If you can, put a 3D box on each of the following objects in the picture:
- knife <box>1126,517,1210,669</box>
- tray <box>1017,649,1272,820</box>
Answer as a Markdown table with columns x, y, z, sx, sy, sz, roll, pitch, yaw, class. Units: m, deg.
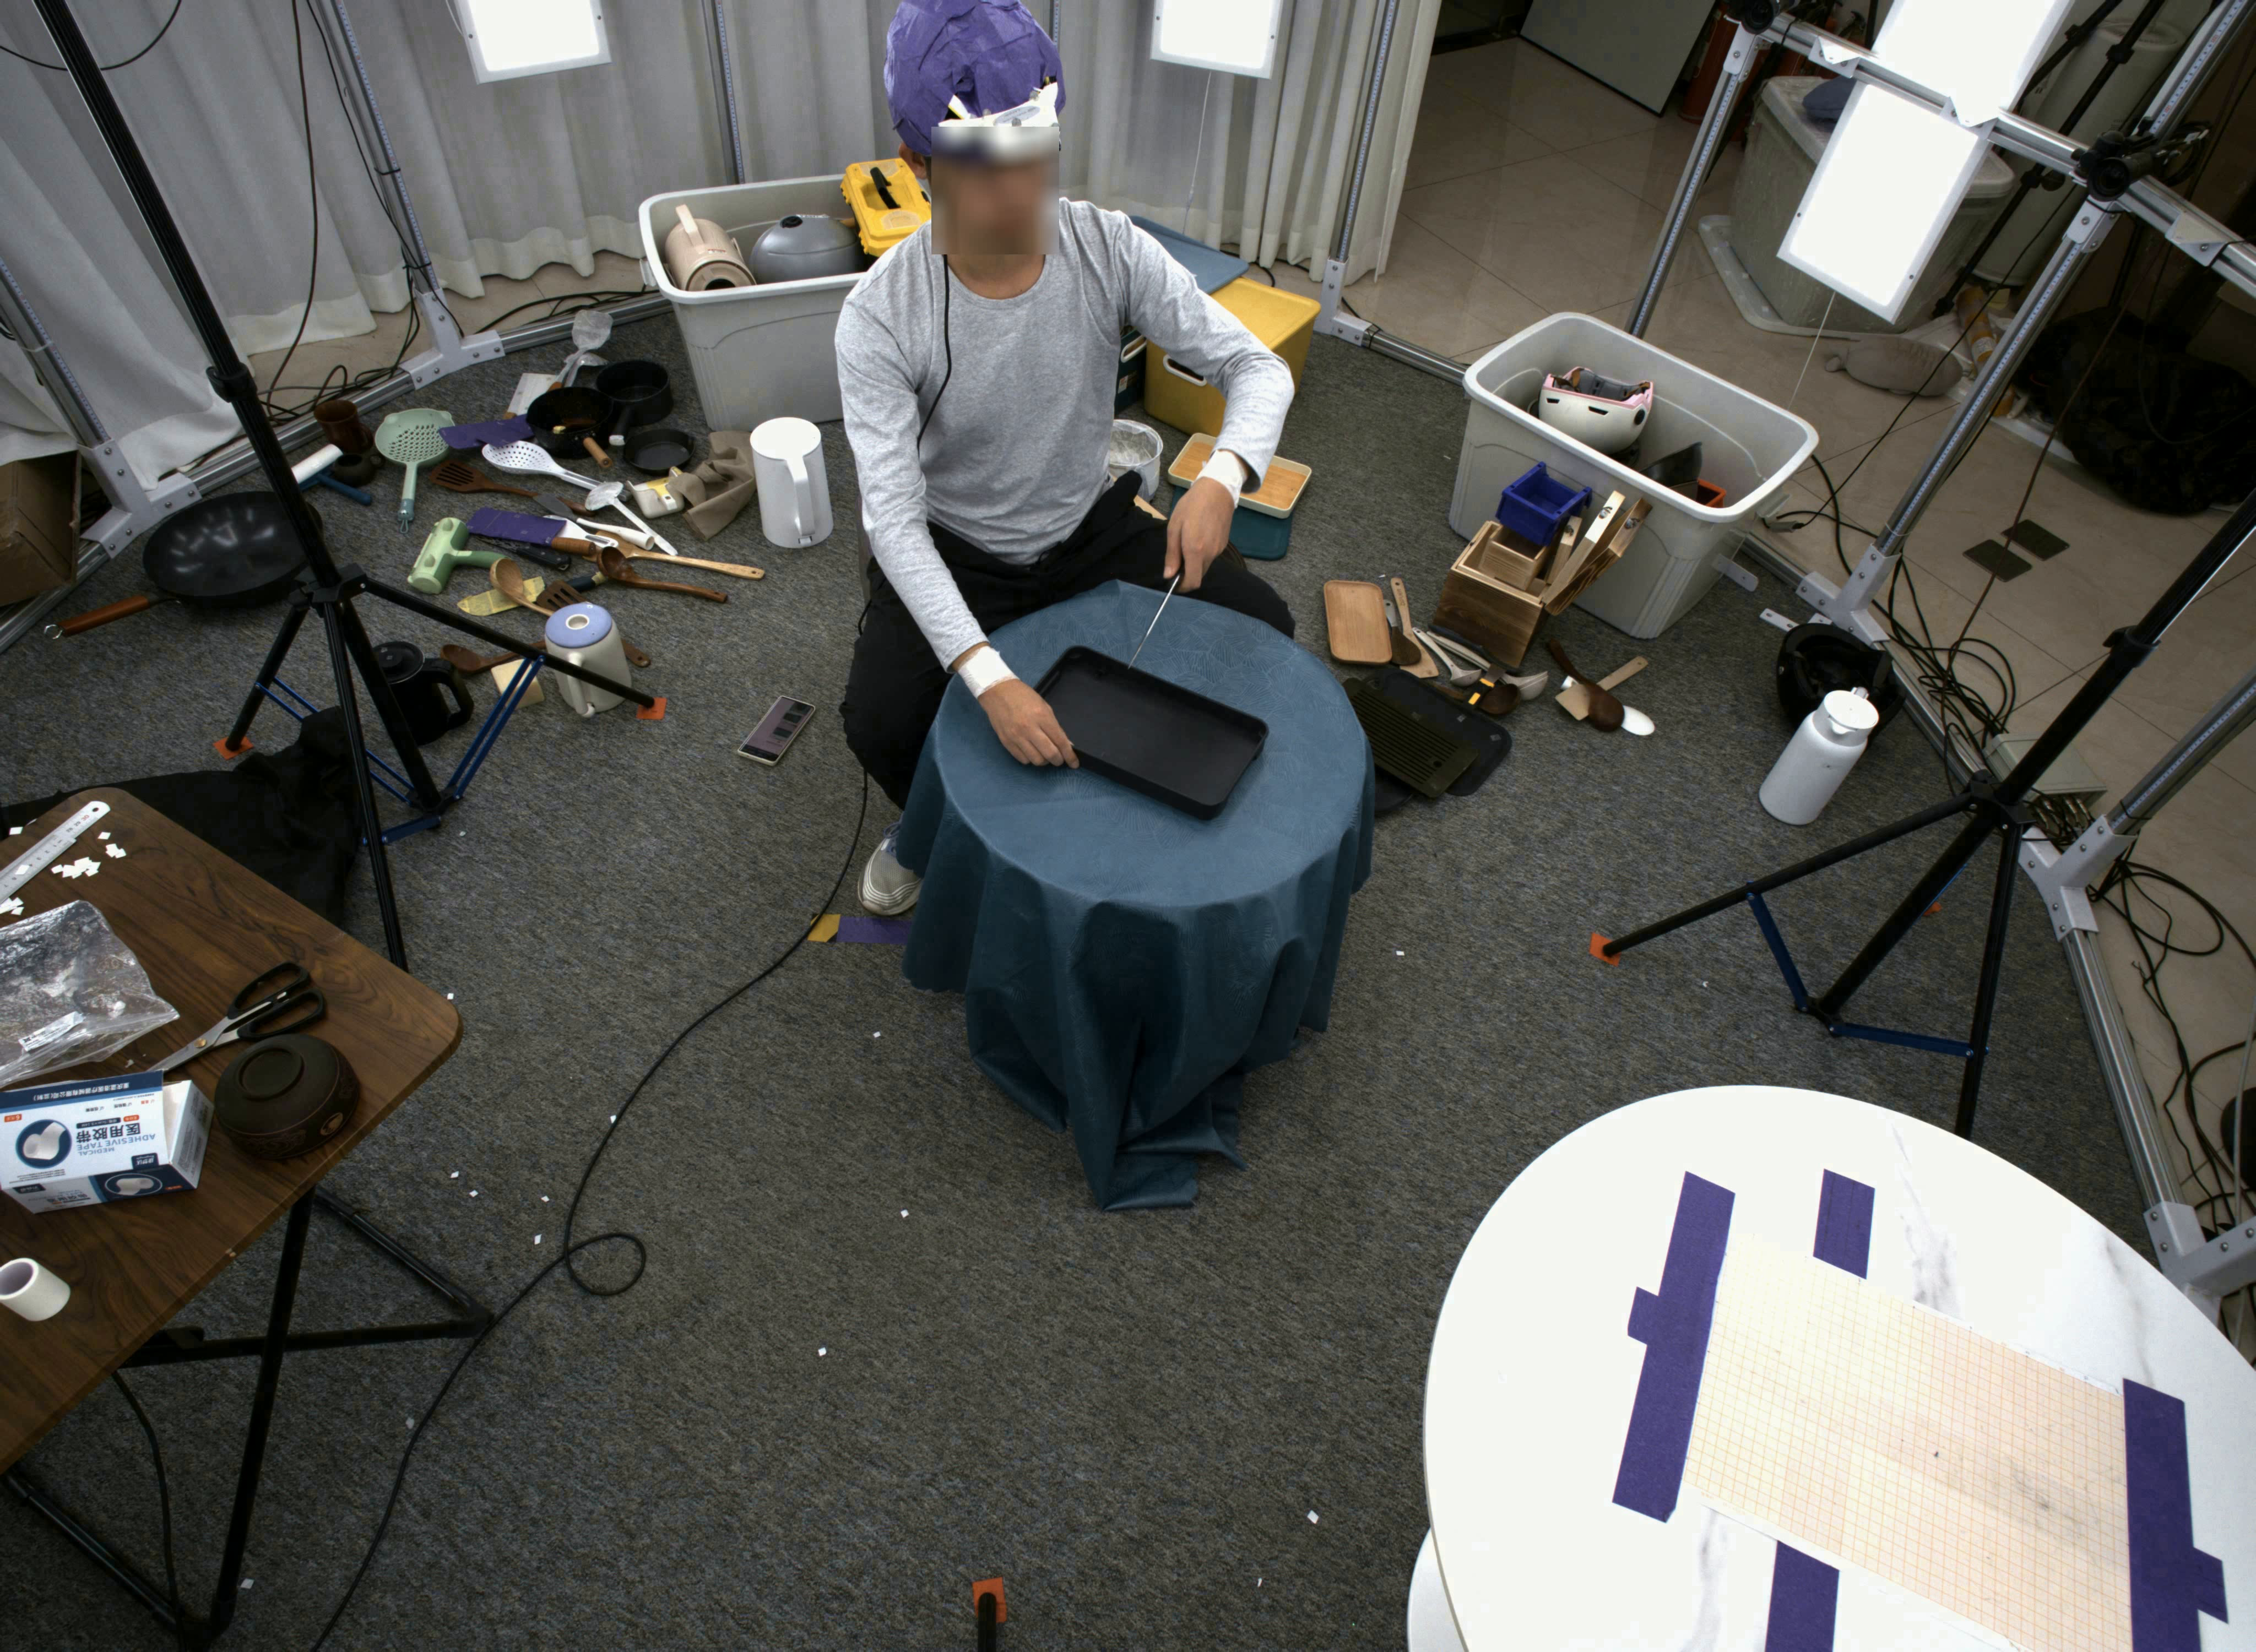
| x | y | z | sx | sy | sz | roll | pitch | yaw | class |
| --- | --- | --- | --- | --- | --- | --- | --- | --- | --- |
| 0.052 | -0.305 | 1.673 | 0.016 | 0.024 | 0.240 | 30 | 74 | -10 | knife |
| 0.022 | -0.130 | 1.759 | 0.320 | 0.036 | 0.187 | 23 | 51 | 16 | tray |
